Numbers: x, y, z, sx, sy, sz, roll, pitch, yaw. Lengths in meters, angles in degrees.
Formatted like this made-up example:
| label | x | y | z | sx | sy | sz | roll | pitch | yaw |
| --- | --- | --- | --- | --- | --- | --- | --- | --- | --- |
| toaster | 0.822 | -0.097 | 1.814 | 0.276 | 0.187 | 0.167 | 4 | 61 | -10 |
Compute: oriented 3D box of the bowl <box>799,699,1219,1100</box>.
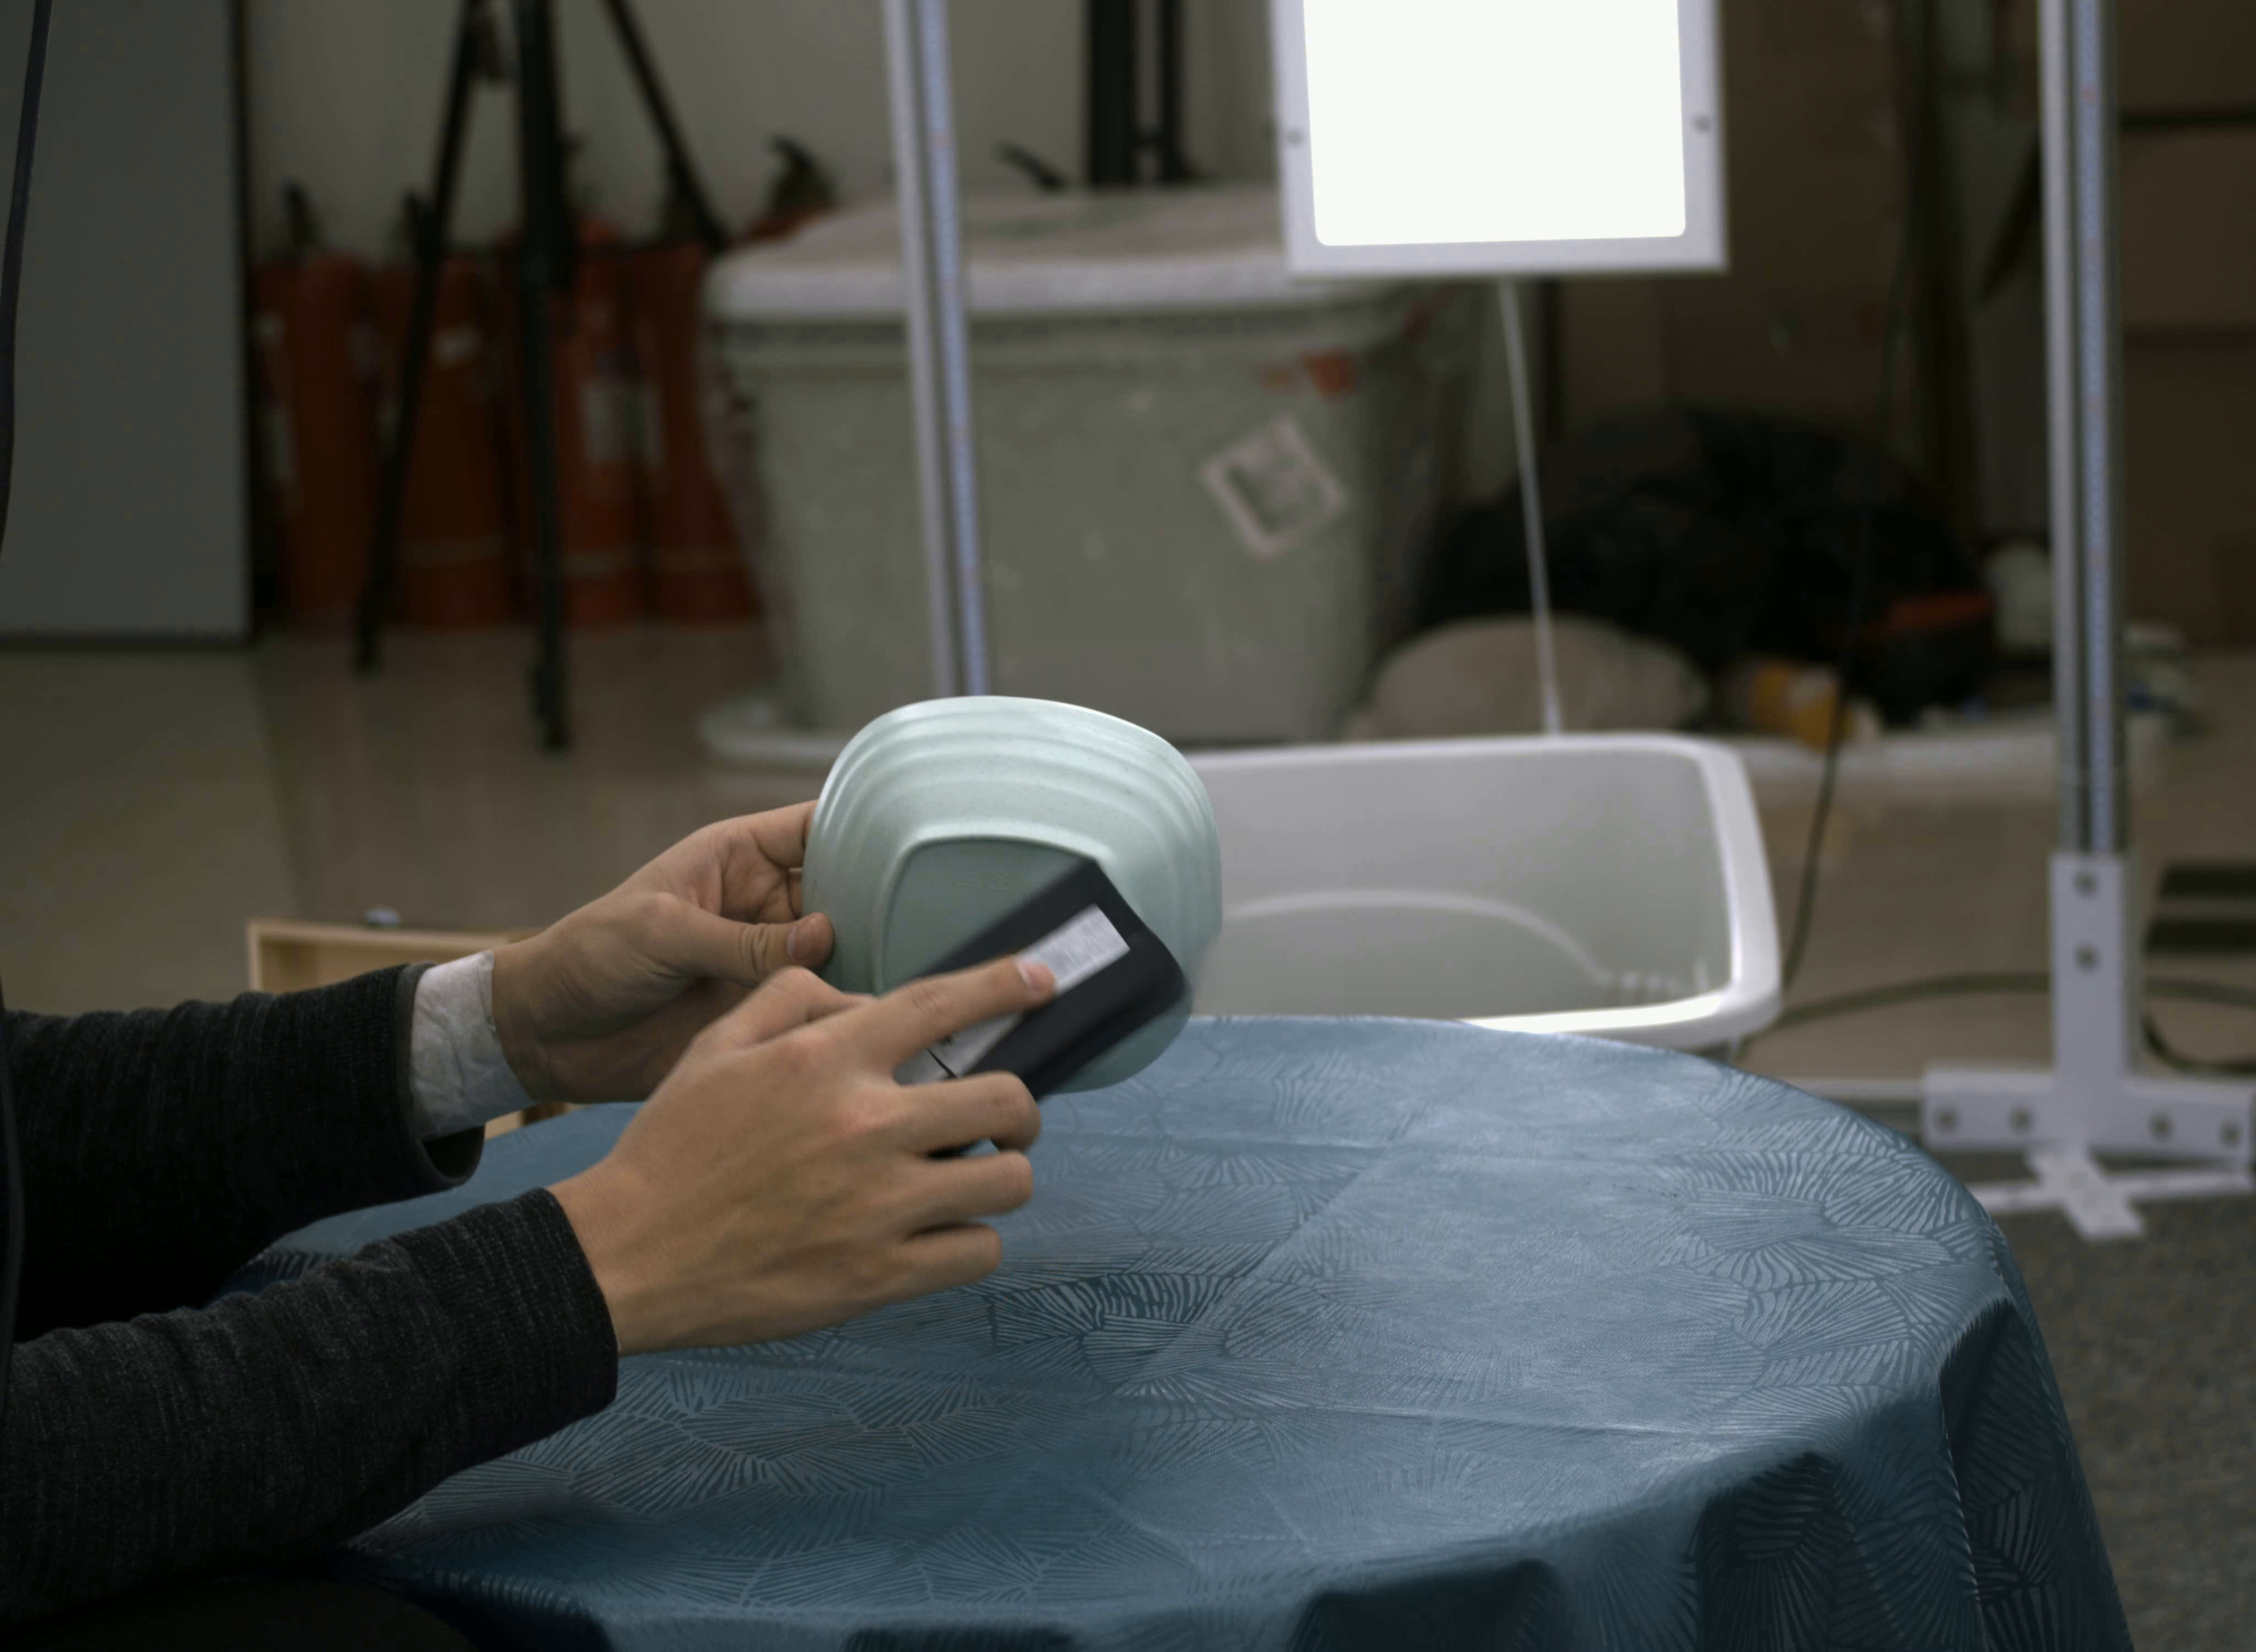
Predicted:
| label | x | y | z | sx | sy | sz | roll | pitch | yaw |
| --- | --- | --- | --- | --- | --- | --- | --- | --- | --- |
| bowl | -0.041 | 0.033 | 1.796 | 0.152 | 0.152 | 0.058 | -3 | 21 | 7 |

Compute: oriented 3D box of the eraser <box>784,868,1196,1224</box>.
| label | x | y | z | sx | sy | sz | roll | pitch | yaw |
| --- | --- | --- | --- | --- | --- | --- | --- | --- | --- |
| eraser | -0.042 | 0.066 | 1.685 | 0.123 | 0.030 | 0.054 | -35 | 67 | -21 |
